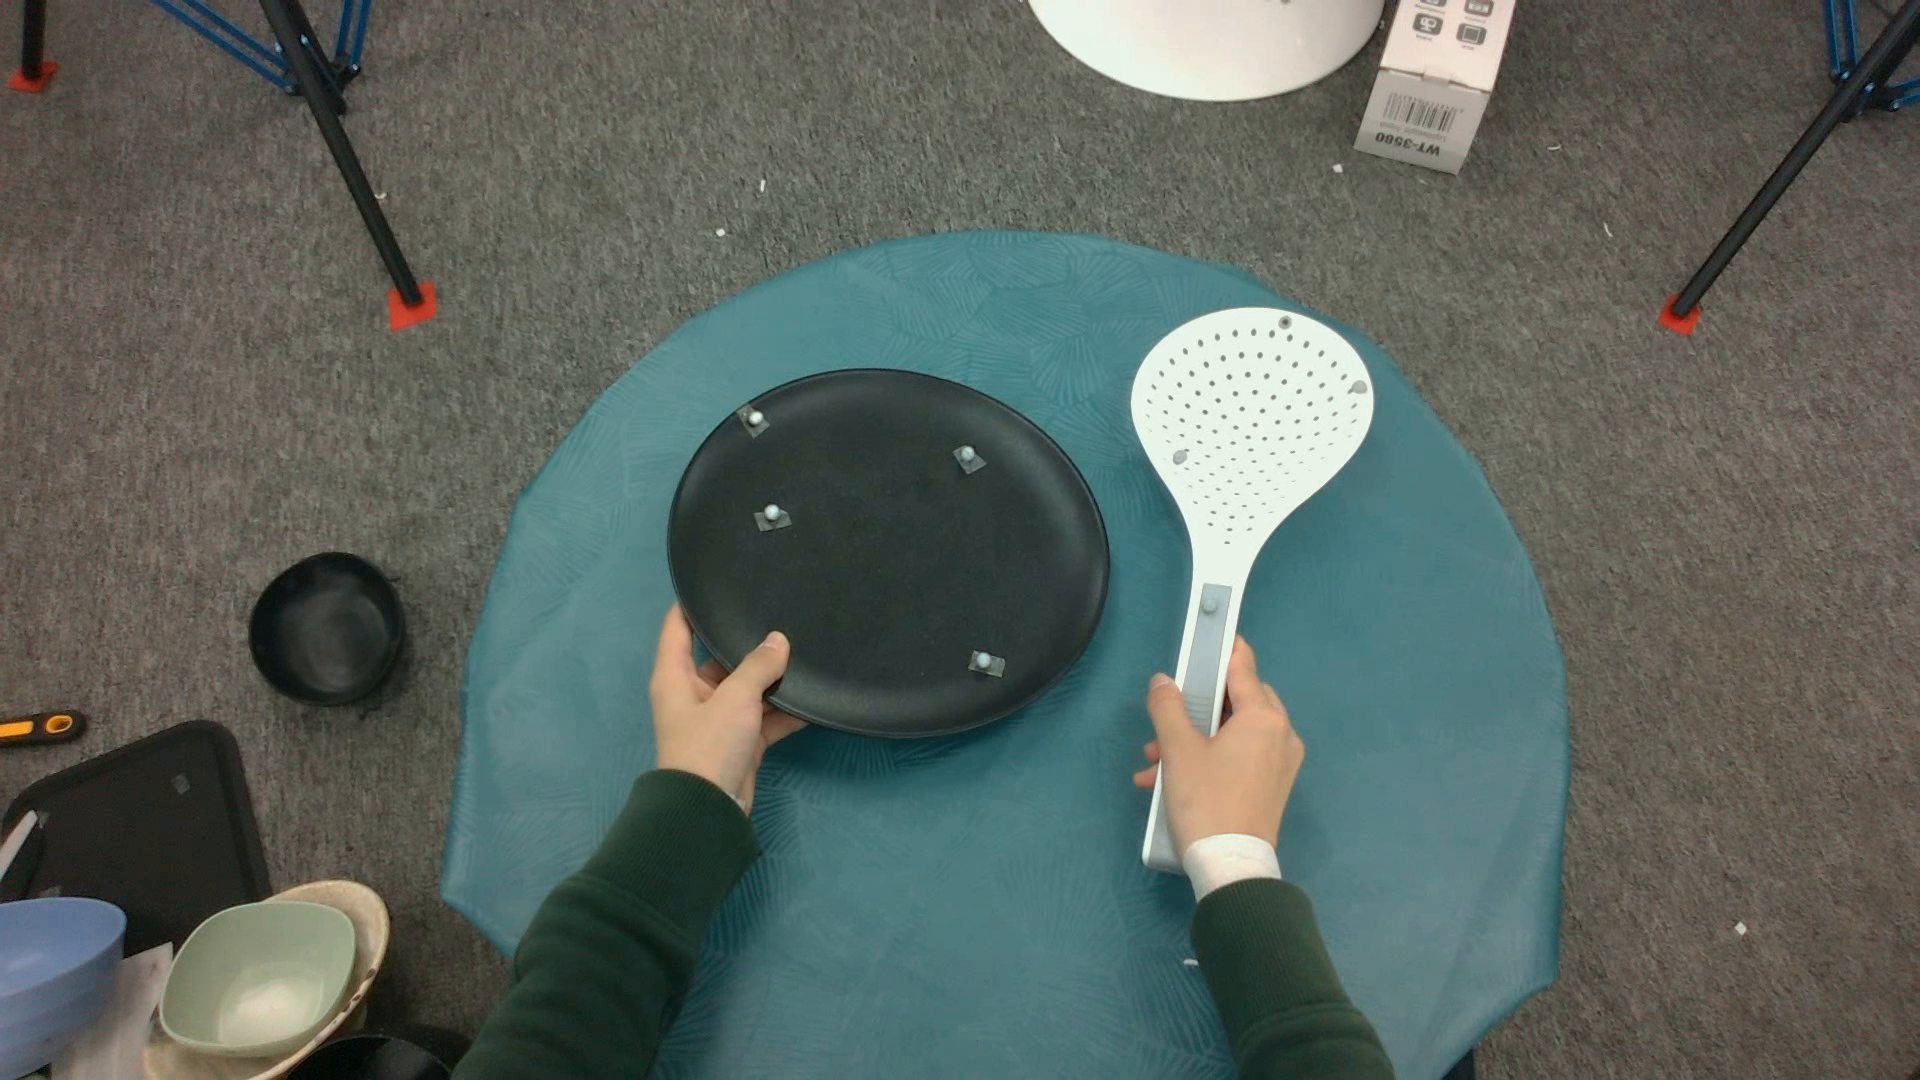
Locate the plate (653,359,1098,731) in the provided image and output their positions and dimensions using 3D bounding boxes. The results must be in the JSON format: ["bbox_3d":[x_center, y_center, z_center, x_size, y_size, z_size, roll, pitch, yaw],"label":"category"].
[{"bbox_3d":[-0.045,-0.002,0.759,0.244,0.023,0.245,6,55,-8],"label":"plate"}]

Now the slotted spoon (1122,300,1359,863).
[{"bbox_3d":[0.137,0.007,0.751,0.136,0.045,0.351,7,55,15],"label":"slotted spoon"}]
